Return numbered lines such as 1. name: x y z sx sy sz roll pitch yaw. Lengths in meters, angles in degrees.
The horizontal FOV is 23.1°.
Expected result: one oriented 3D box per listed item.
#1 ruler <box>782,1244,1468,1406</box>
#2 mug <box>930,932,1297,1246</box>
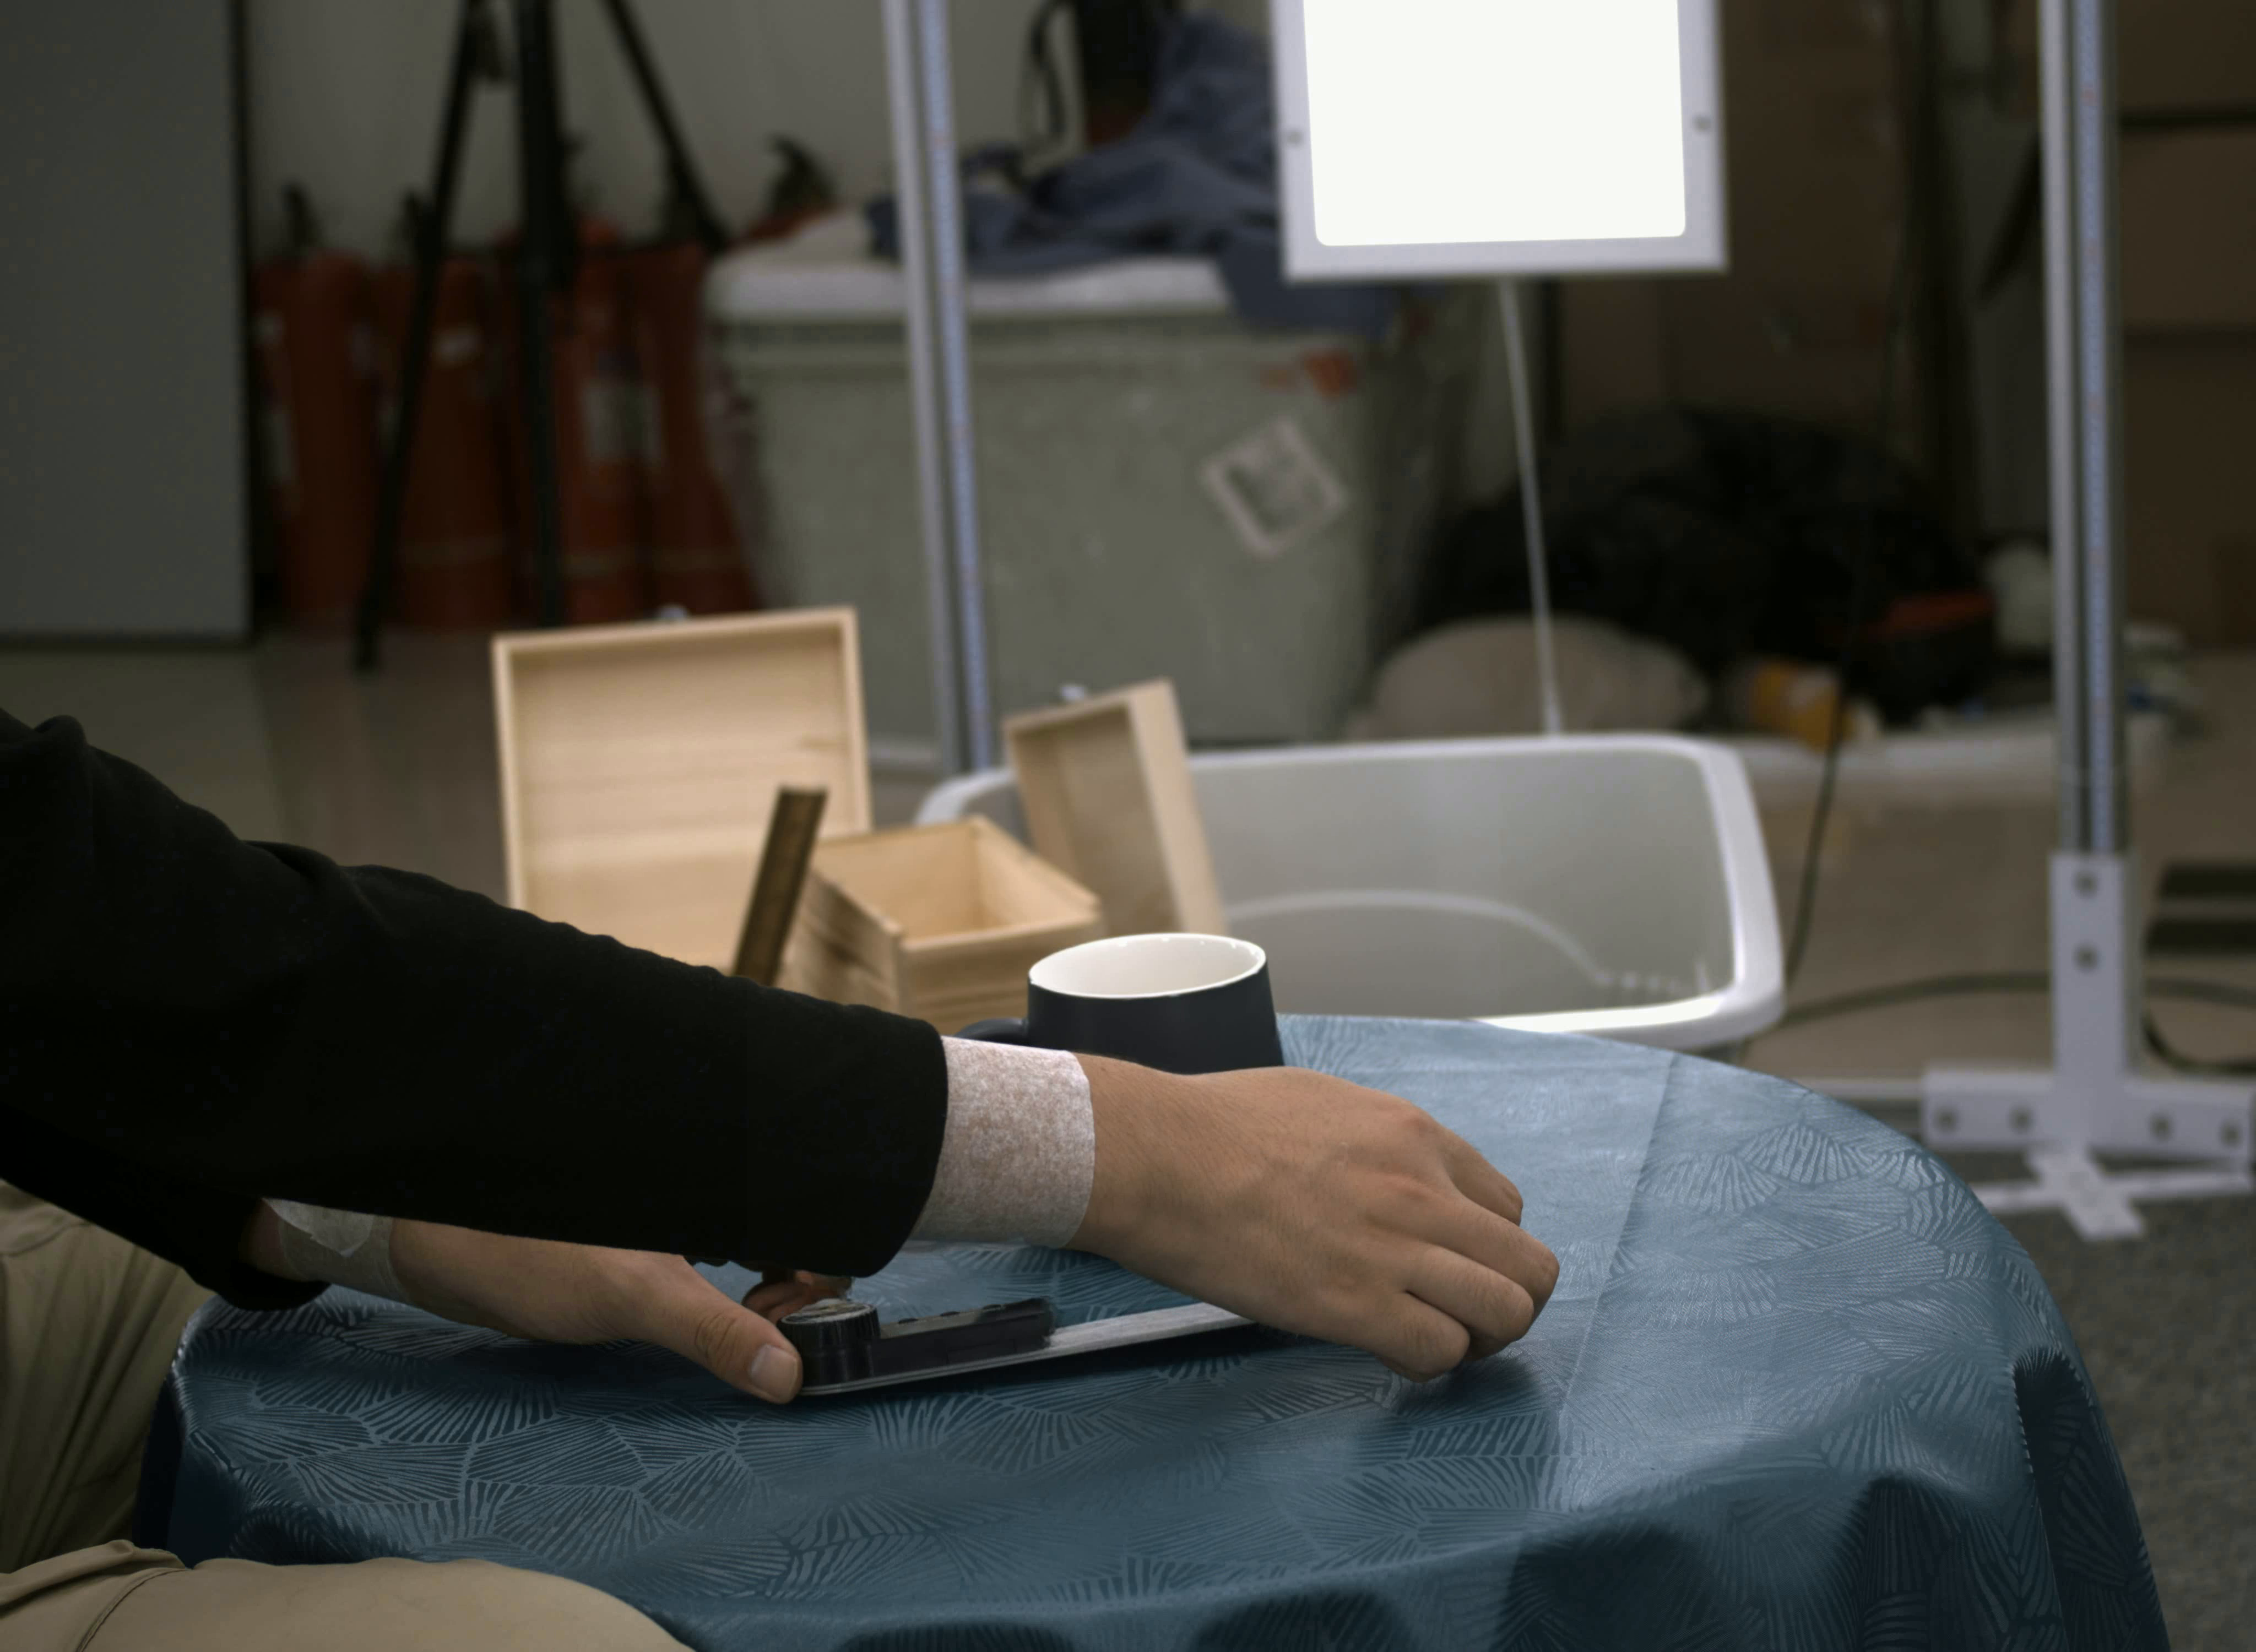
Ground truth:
1. ruler: -0.002 0.149 1.735 0.216 0.024 0.038 -10 11 -7
2. mug: -0.005 0.089 1.855 0.123 0.090 0.093 -4 13 0
